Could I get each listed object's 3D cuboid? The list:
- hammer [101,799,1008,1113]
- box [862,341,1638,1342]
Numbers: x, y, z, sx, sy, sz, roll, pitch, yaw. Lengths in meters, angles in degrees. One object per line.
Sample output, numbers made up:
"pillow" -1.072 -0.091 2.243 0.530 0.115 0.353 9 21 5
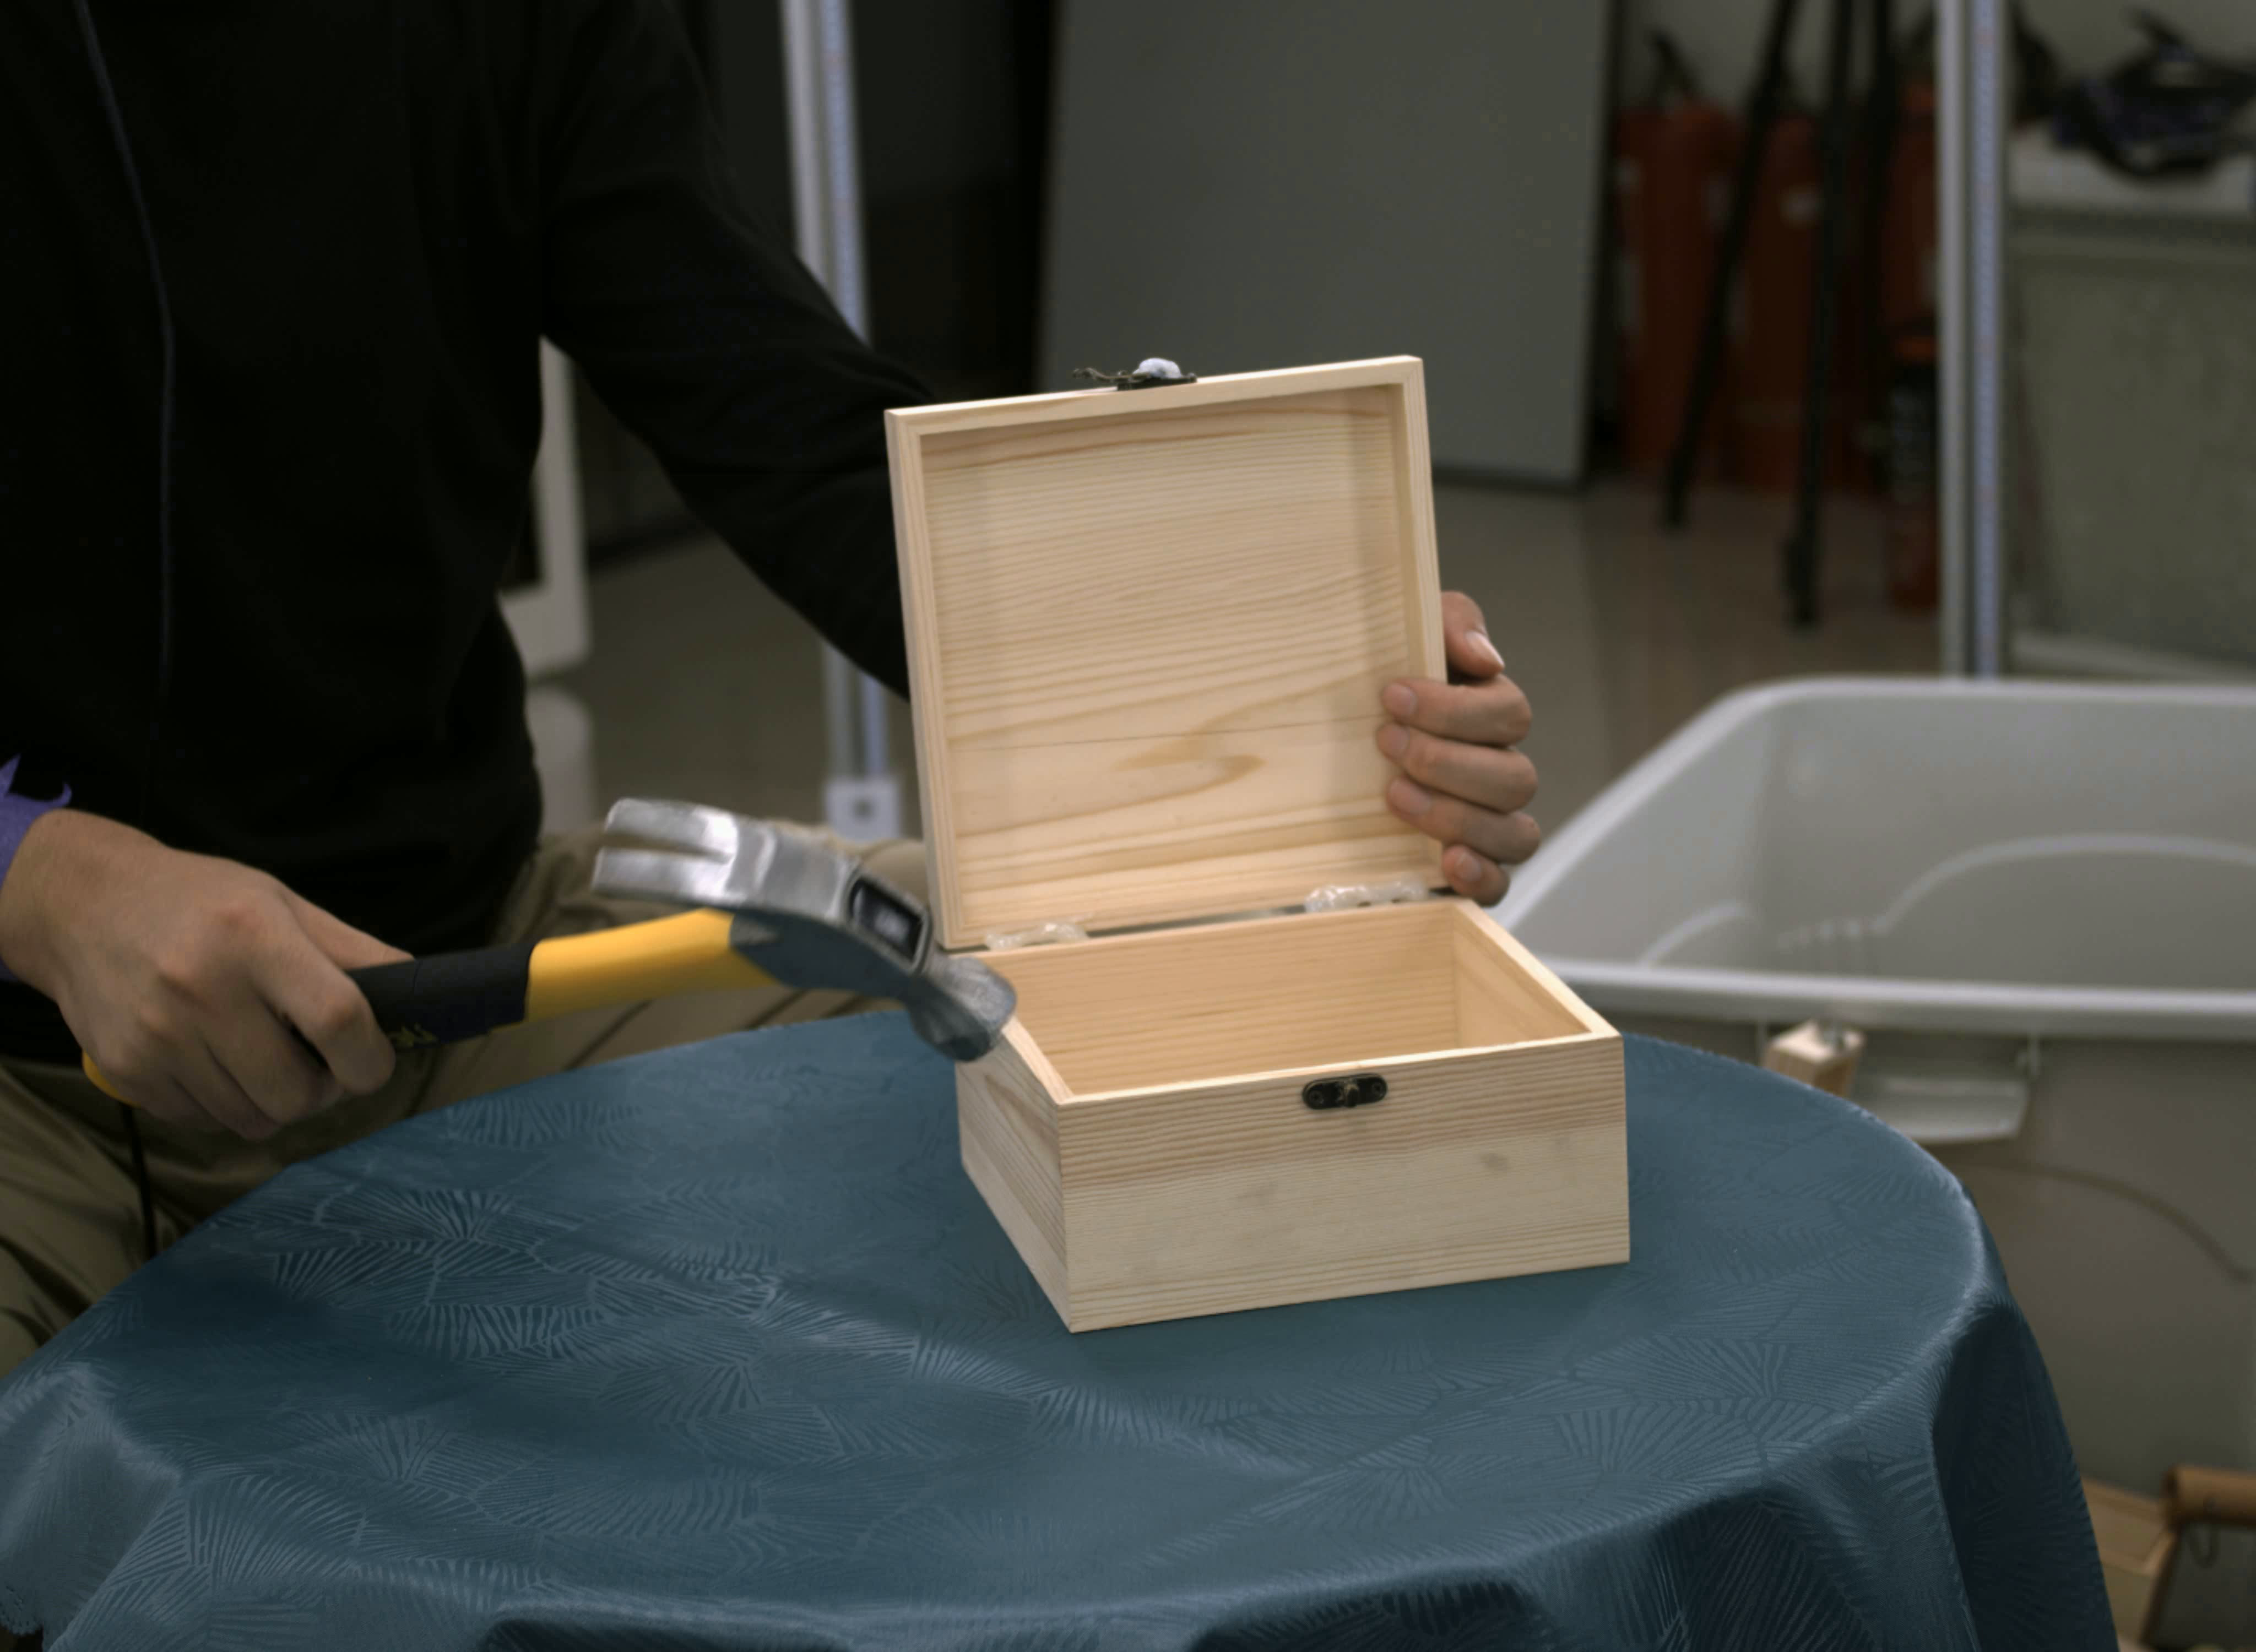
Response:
"hammer" -0.201 0.053 1.686 0.341 0.032 0.129 -11 -36 40
"box" 0.035 -0.004 1.744 0.178 0.256 0.267 -9 15 -10
